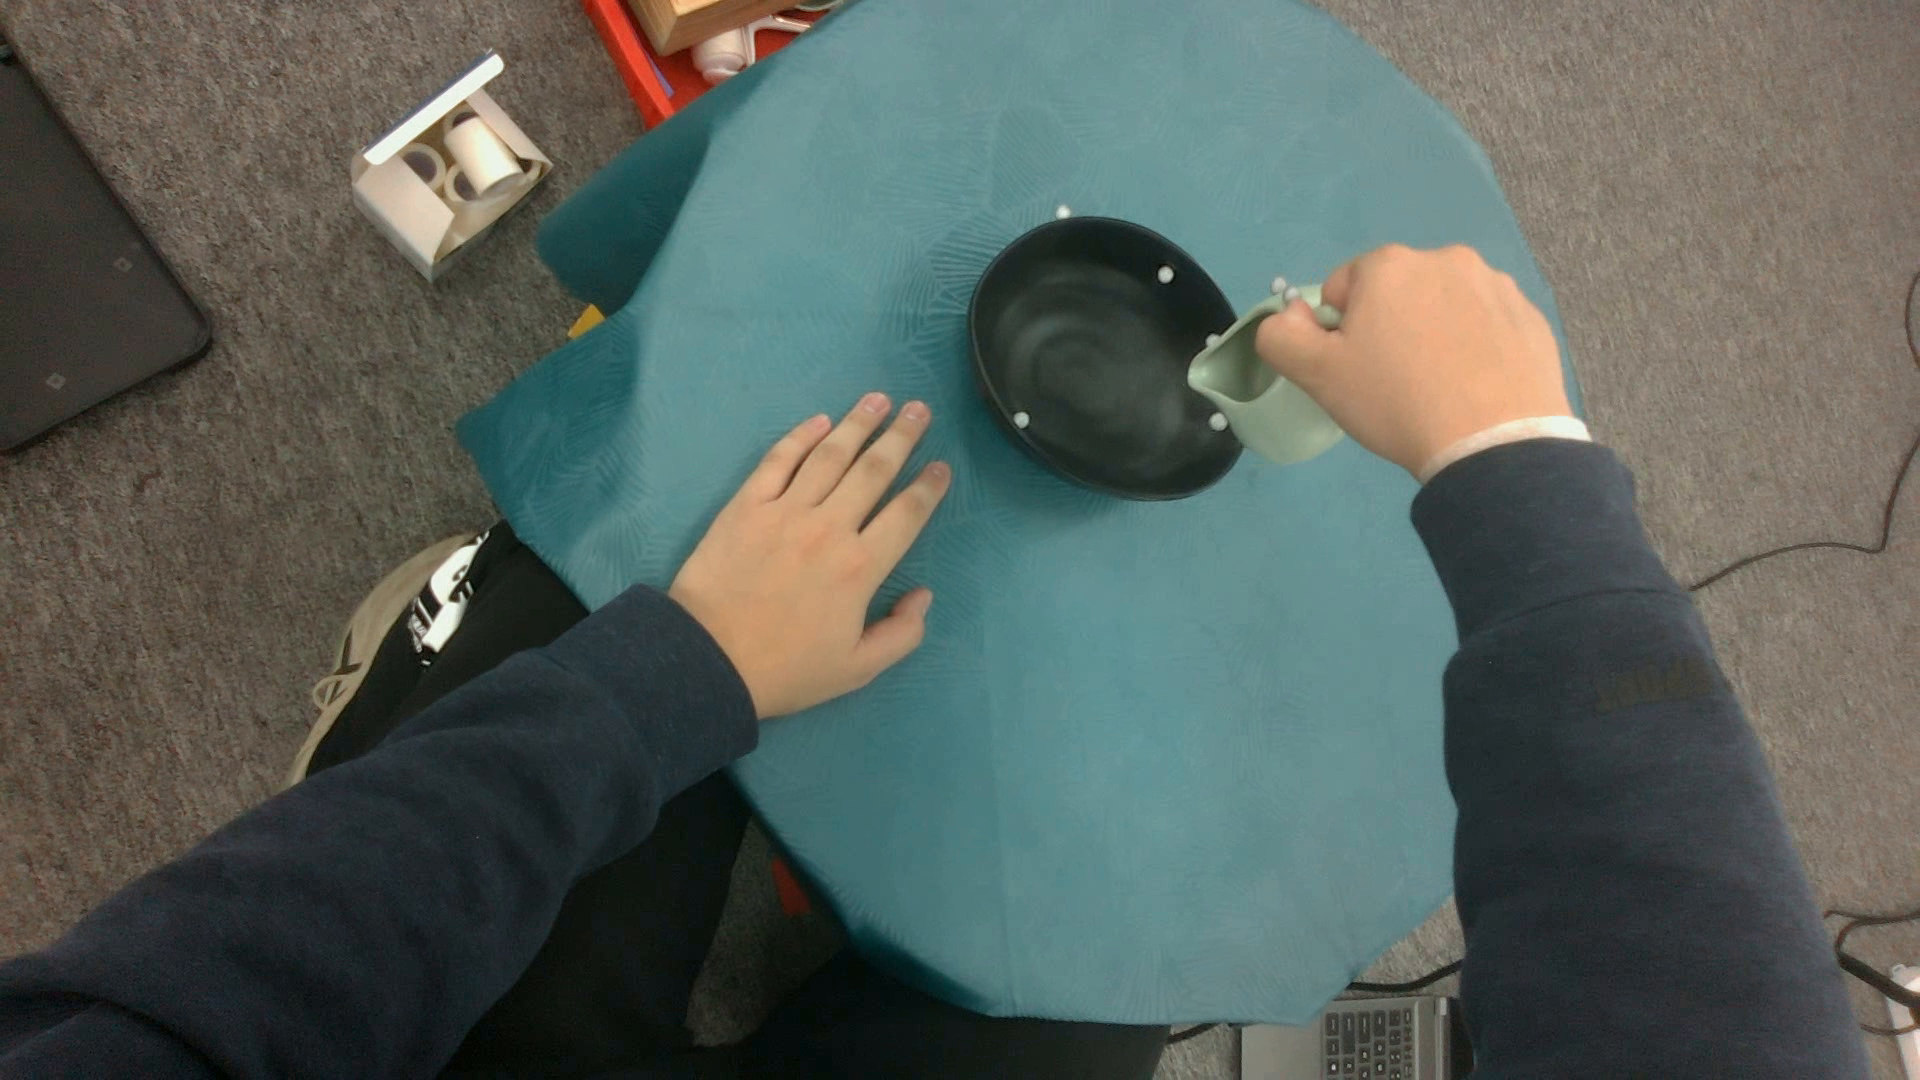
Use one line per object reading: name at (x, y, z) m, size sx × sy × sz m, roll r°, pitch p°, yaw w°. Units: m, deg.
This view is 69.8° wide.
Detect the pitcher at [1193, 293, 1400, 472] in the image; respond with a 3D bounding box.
pitcher at (0.163, -0.078, 0.635) m, size 0.060 × 0.107 × 0.086 m, roll 16°, pitch 71°, yaw -27°

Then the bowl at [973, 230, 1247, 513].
bowl at (0.076, -0.083, 0.725) m, size 0.170 × 0.066 × 0.137 m, roll 26°, pitch 76°, yaw -18°
